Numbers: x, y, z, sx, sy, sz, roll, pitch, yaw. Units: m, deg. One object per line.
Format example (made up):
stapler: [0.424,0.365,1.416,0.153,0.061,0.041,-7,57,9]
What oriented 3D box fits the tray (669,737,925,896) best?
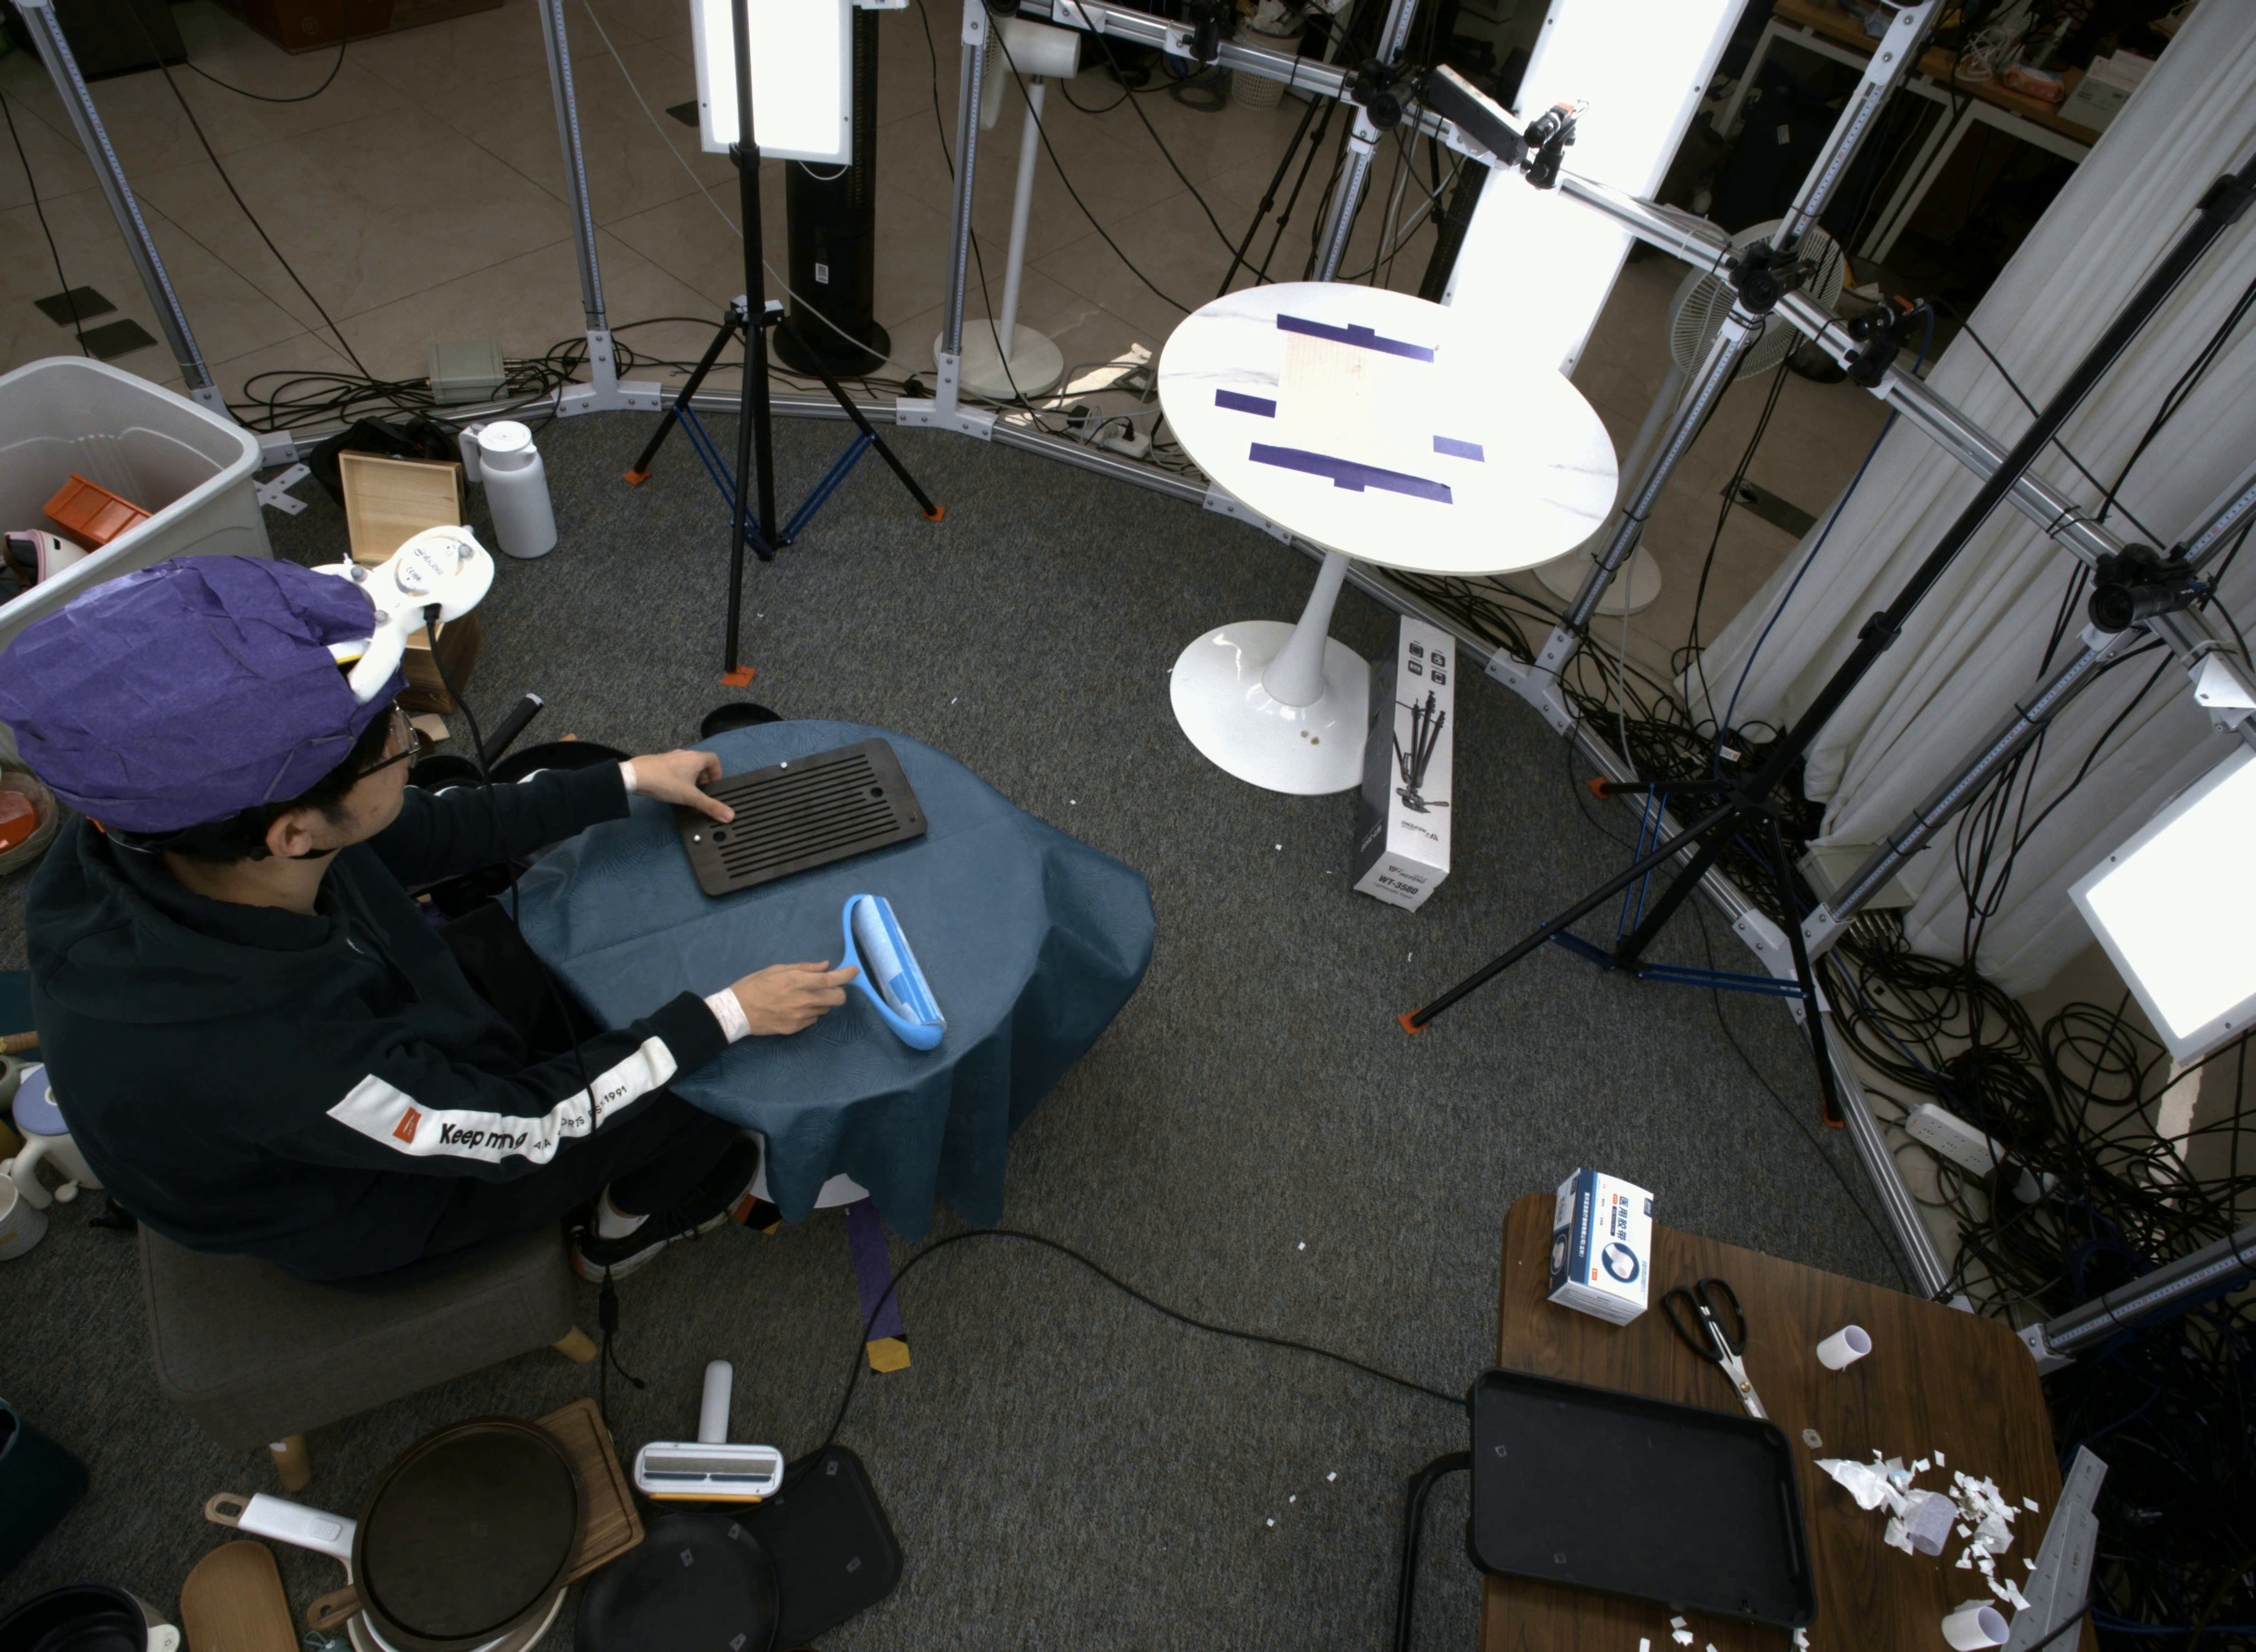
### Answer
tray: [-0.438,-0.017,1.723,0.307,0.019,0.166,-18,63,-26]

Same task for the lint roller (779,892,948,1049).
lint roller: [-0.334,0.189,1.575,0.181,0.069,0.224,-19,63,-29]
